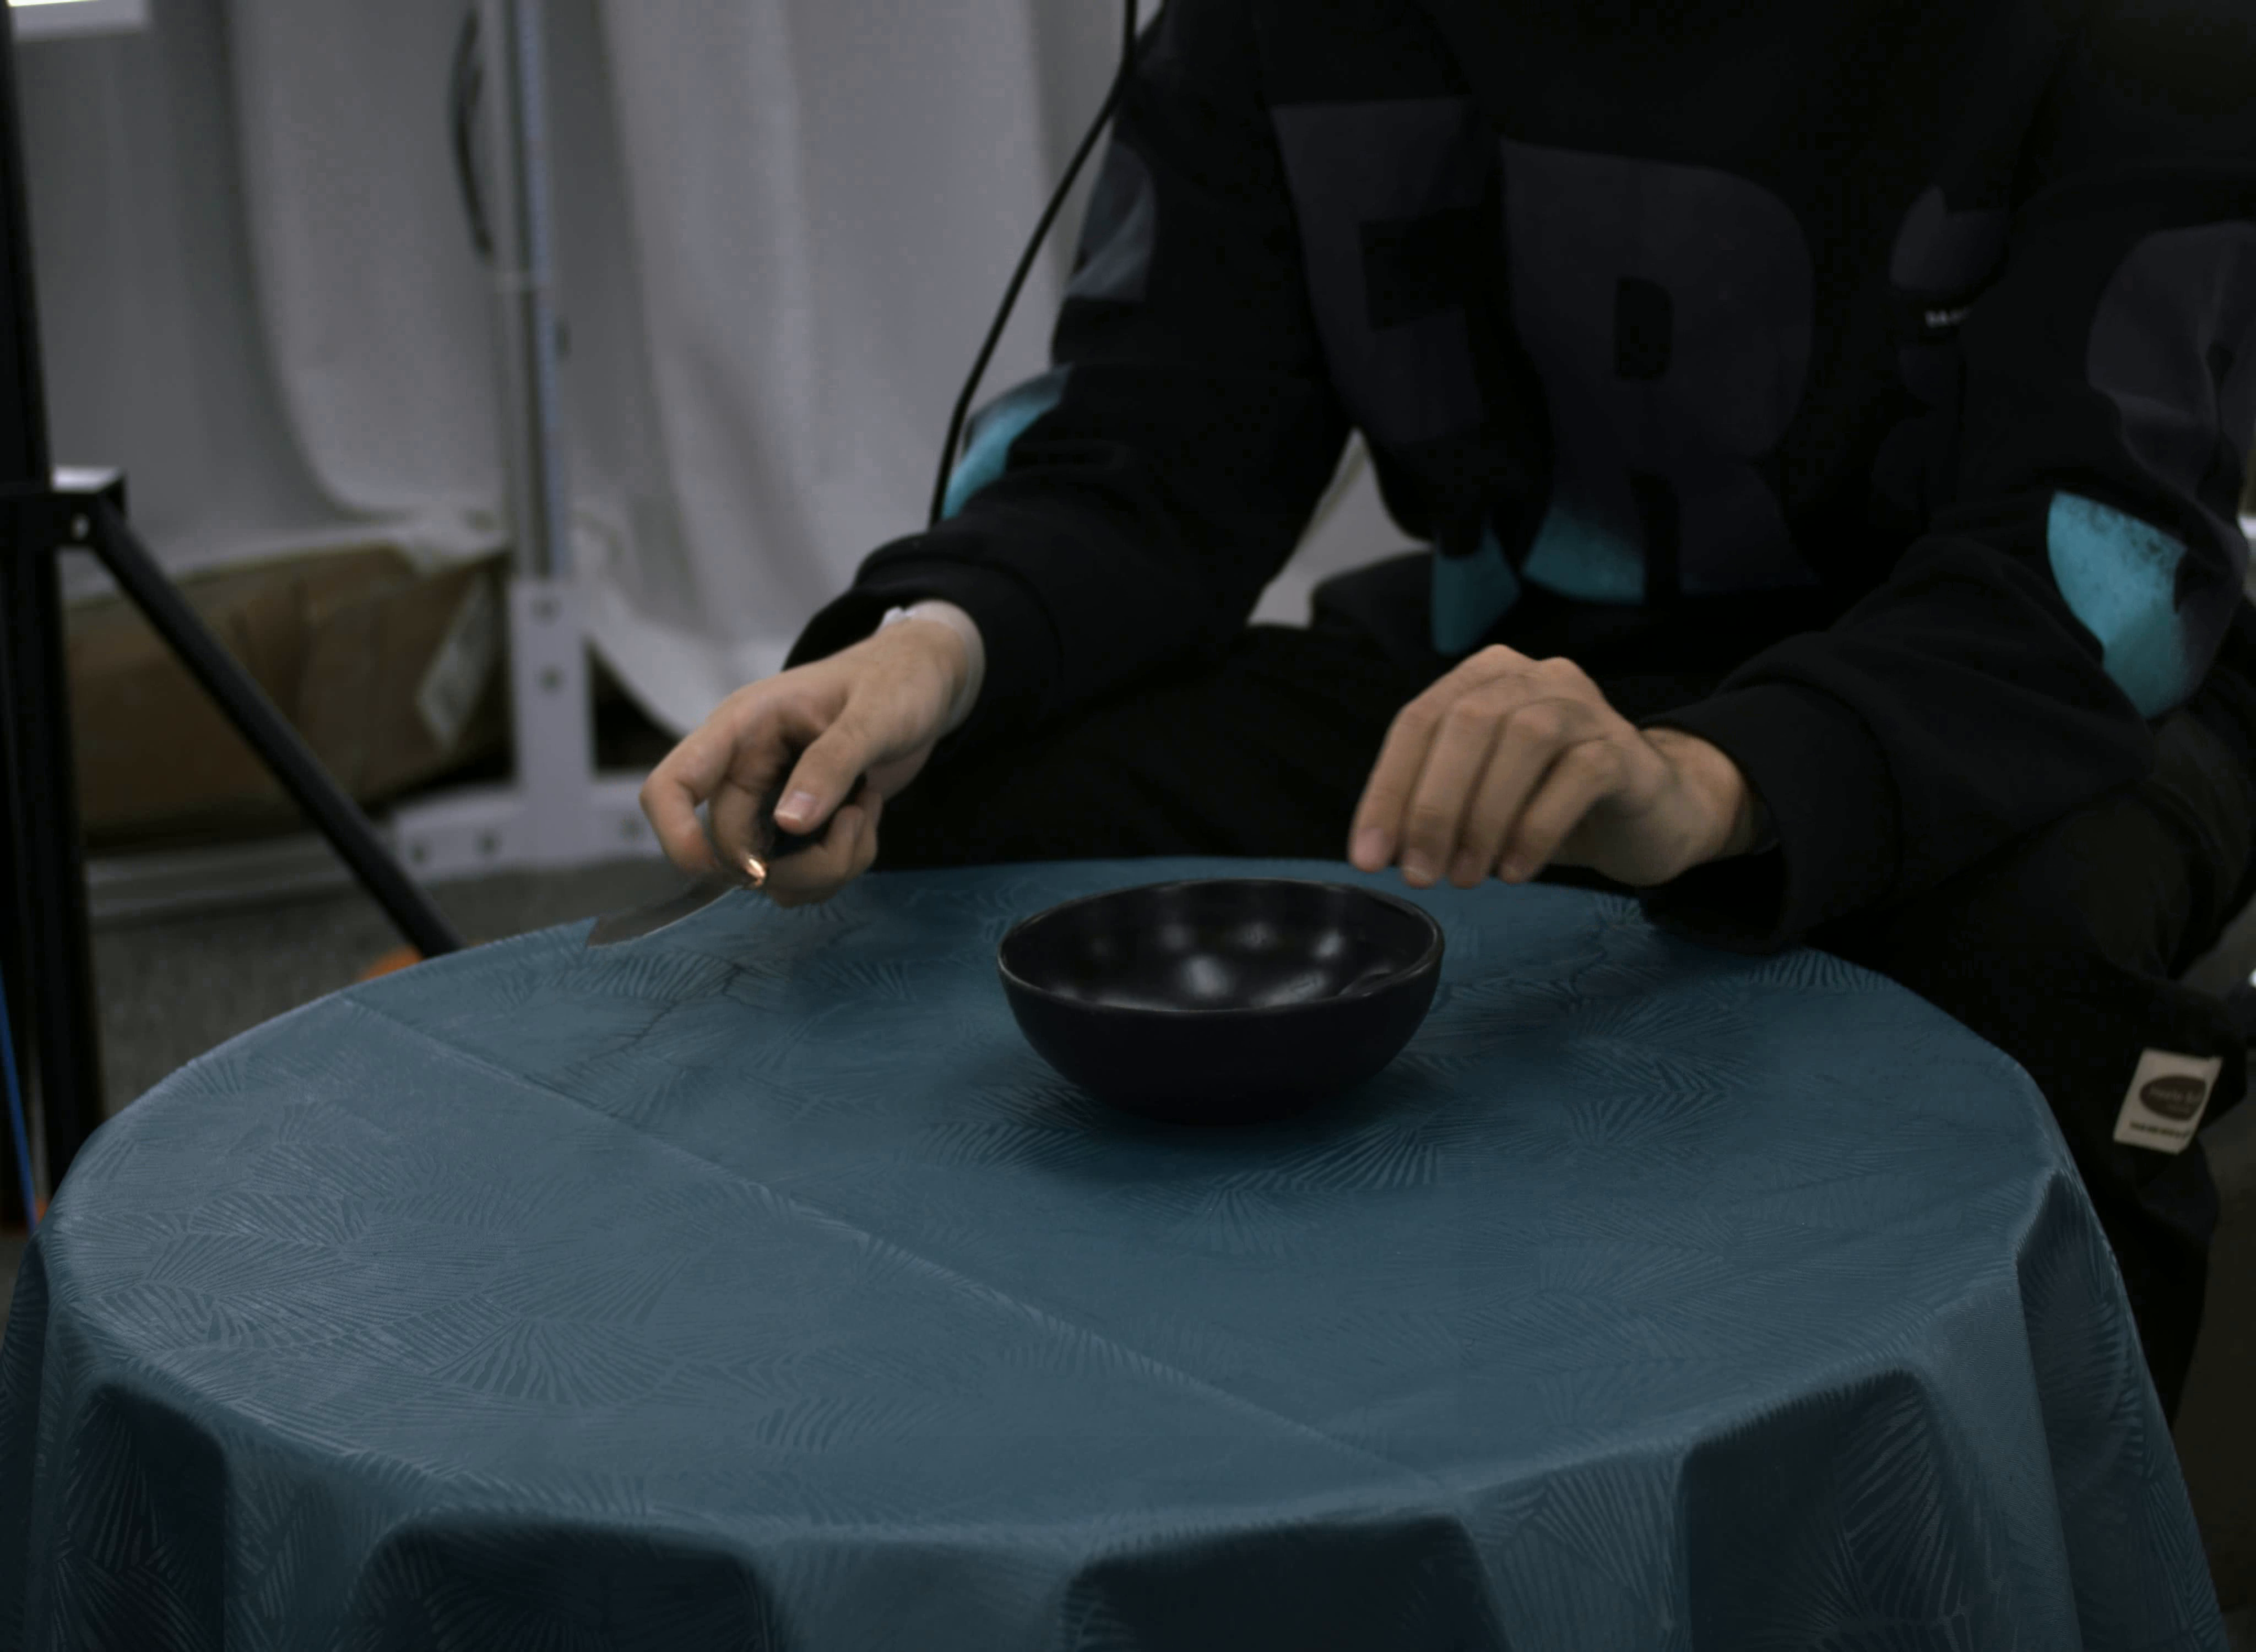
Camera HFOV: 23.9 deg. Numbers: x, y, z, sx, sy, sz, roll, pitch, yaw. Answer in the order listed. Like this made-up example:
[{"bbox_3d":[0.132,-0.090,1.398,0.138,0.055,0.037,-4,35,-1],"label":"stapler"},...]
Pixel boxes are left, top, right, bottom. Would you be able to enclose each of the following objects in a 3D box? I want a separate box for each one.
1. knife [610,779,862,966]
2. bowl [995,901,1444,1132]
[{"bbox_3d":[-0.129,0.014,1.723,0.026,0.017,0.223,31,19,8],"label":"knife"},{"bbox_3d":[0.029,0.062,1.635,0.139,0.050,0.140,-3,11,-1],"label":"bowl"}]
